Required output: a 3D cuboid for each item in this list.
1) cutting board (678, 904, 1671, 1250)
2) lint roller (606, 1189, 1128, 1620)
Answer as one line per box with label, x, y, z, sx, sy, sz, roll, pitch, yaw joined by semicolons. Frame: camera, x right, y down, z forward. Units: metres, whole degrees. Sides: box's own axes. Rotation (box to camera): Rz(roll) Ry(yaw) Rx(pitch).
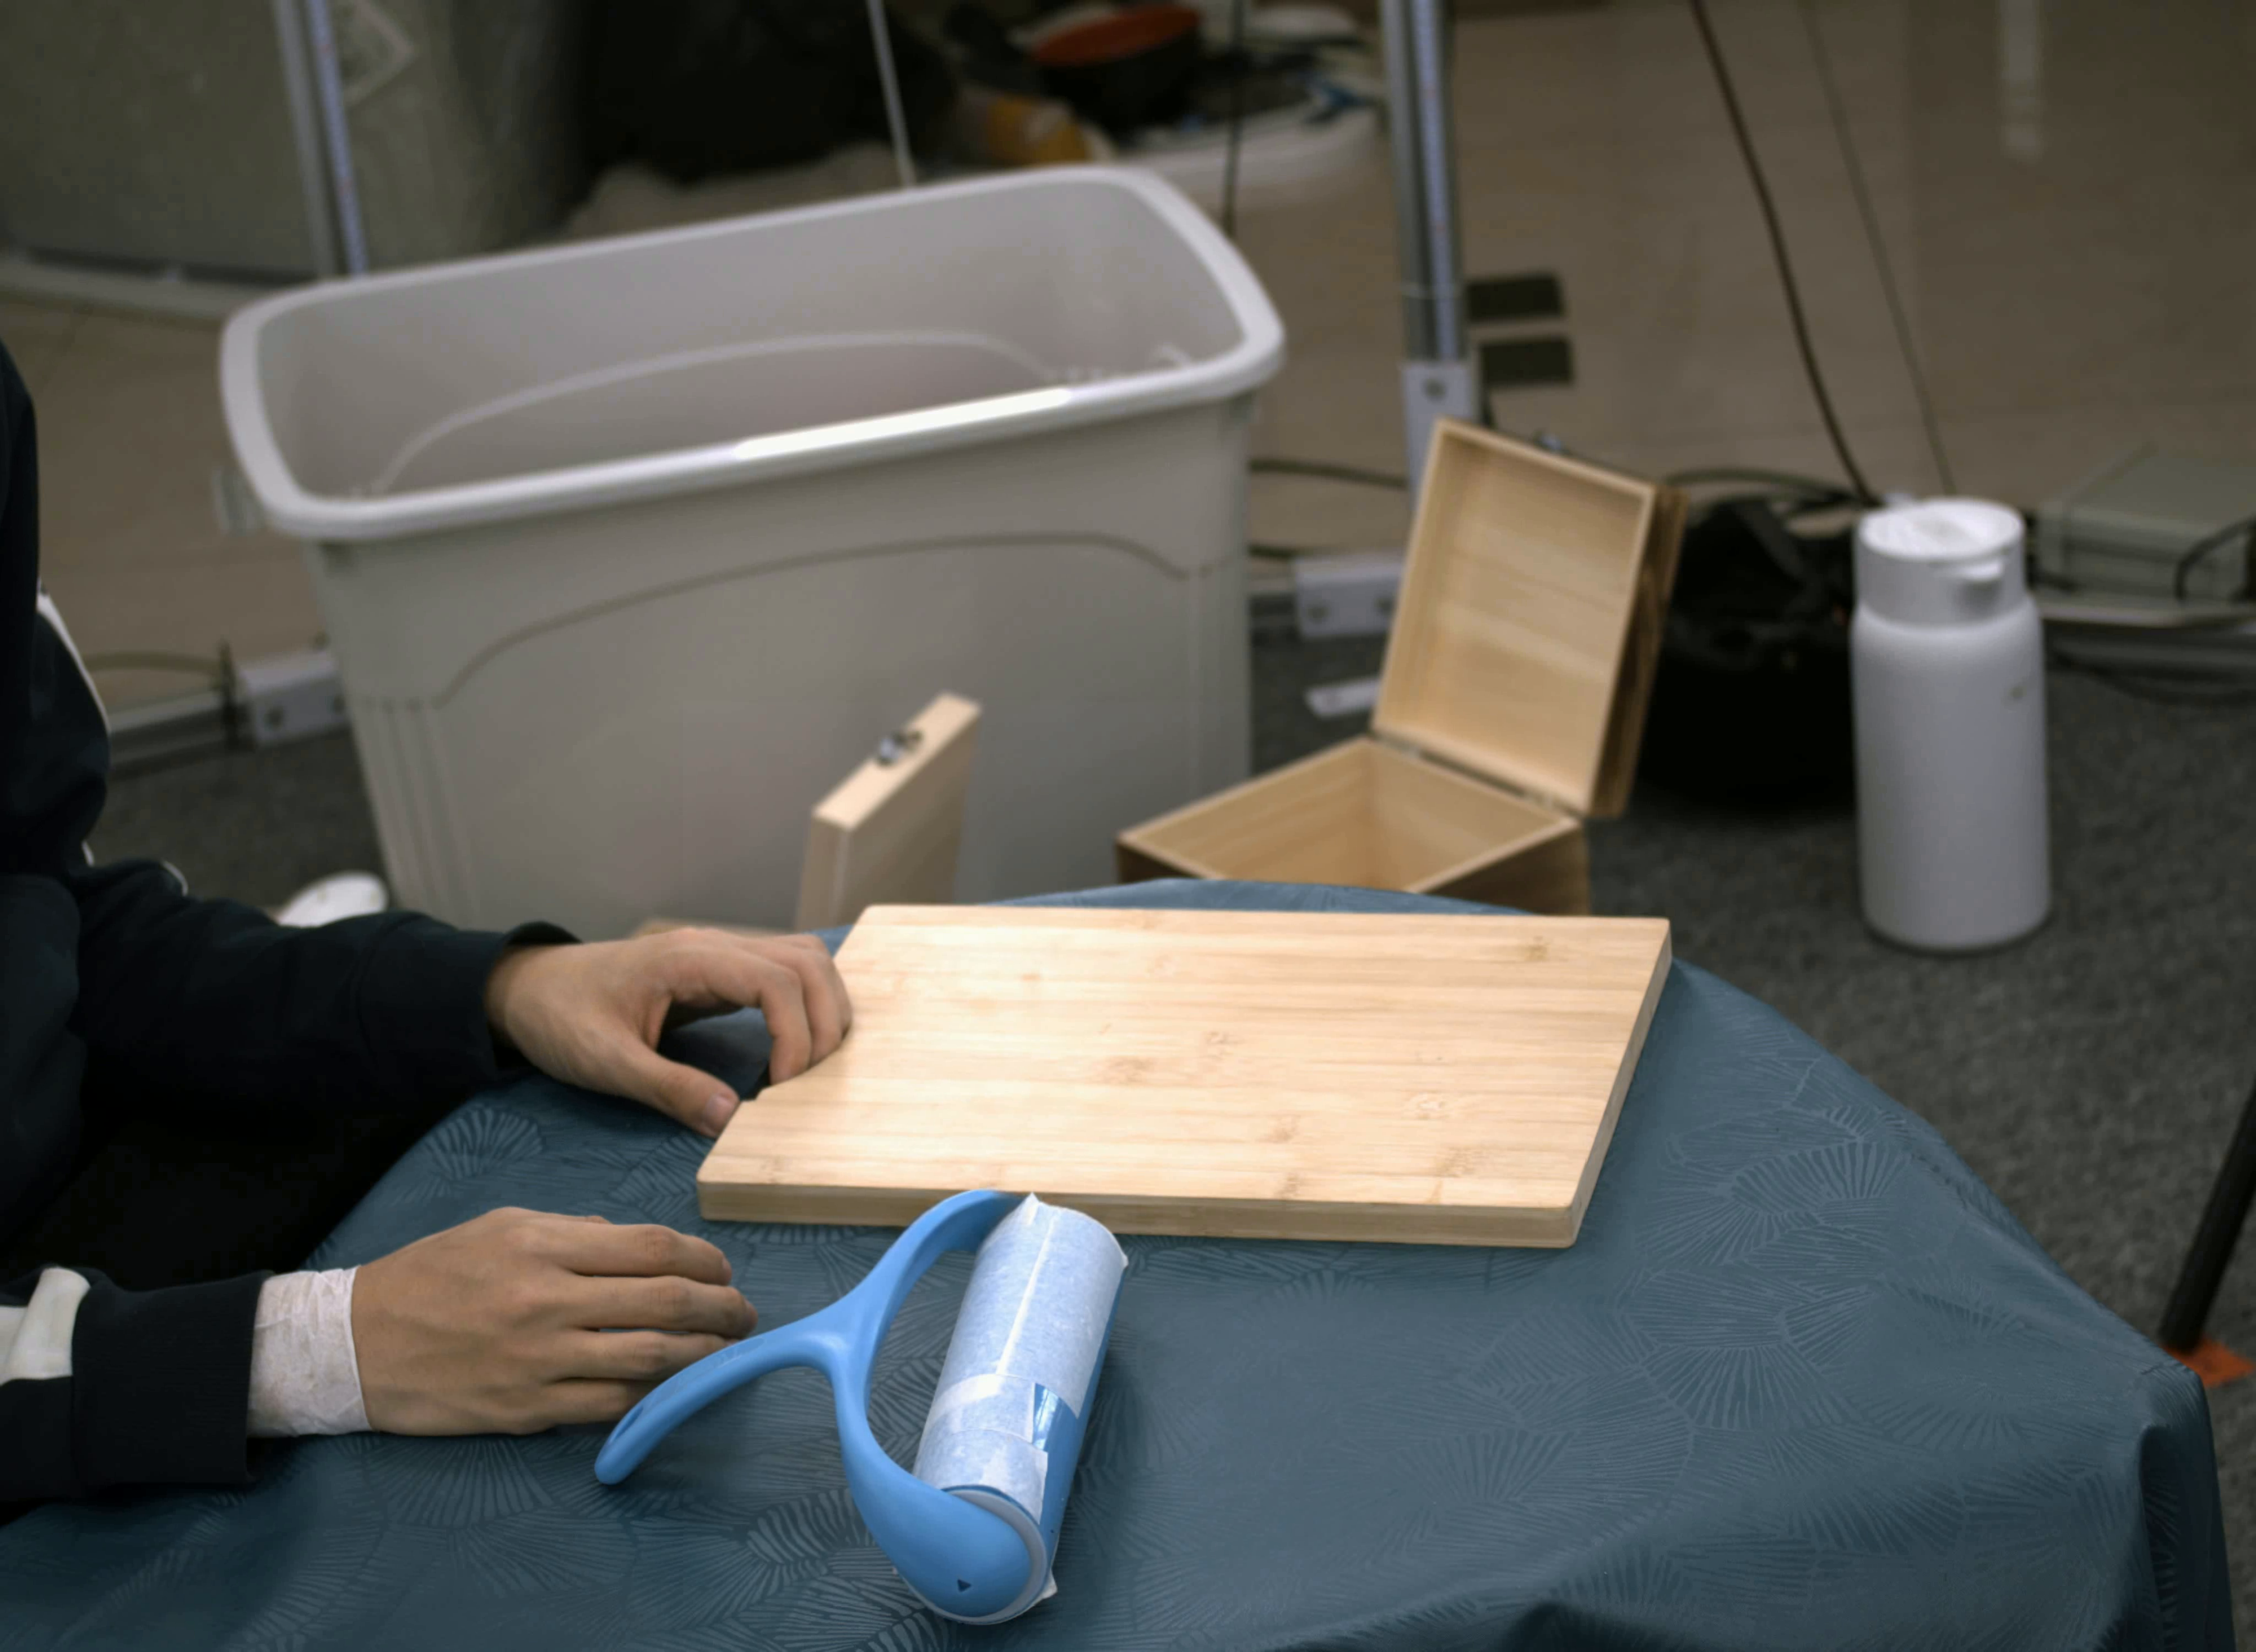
cutting board;0.023;0.094;2.215;0.348;0.024;0.247;0;26;14
lint roller;-0.097;0.201;1.966;0.180;0.069;0.225;-3;27;6
